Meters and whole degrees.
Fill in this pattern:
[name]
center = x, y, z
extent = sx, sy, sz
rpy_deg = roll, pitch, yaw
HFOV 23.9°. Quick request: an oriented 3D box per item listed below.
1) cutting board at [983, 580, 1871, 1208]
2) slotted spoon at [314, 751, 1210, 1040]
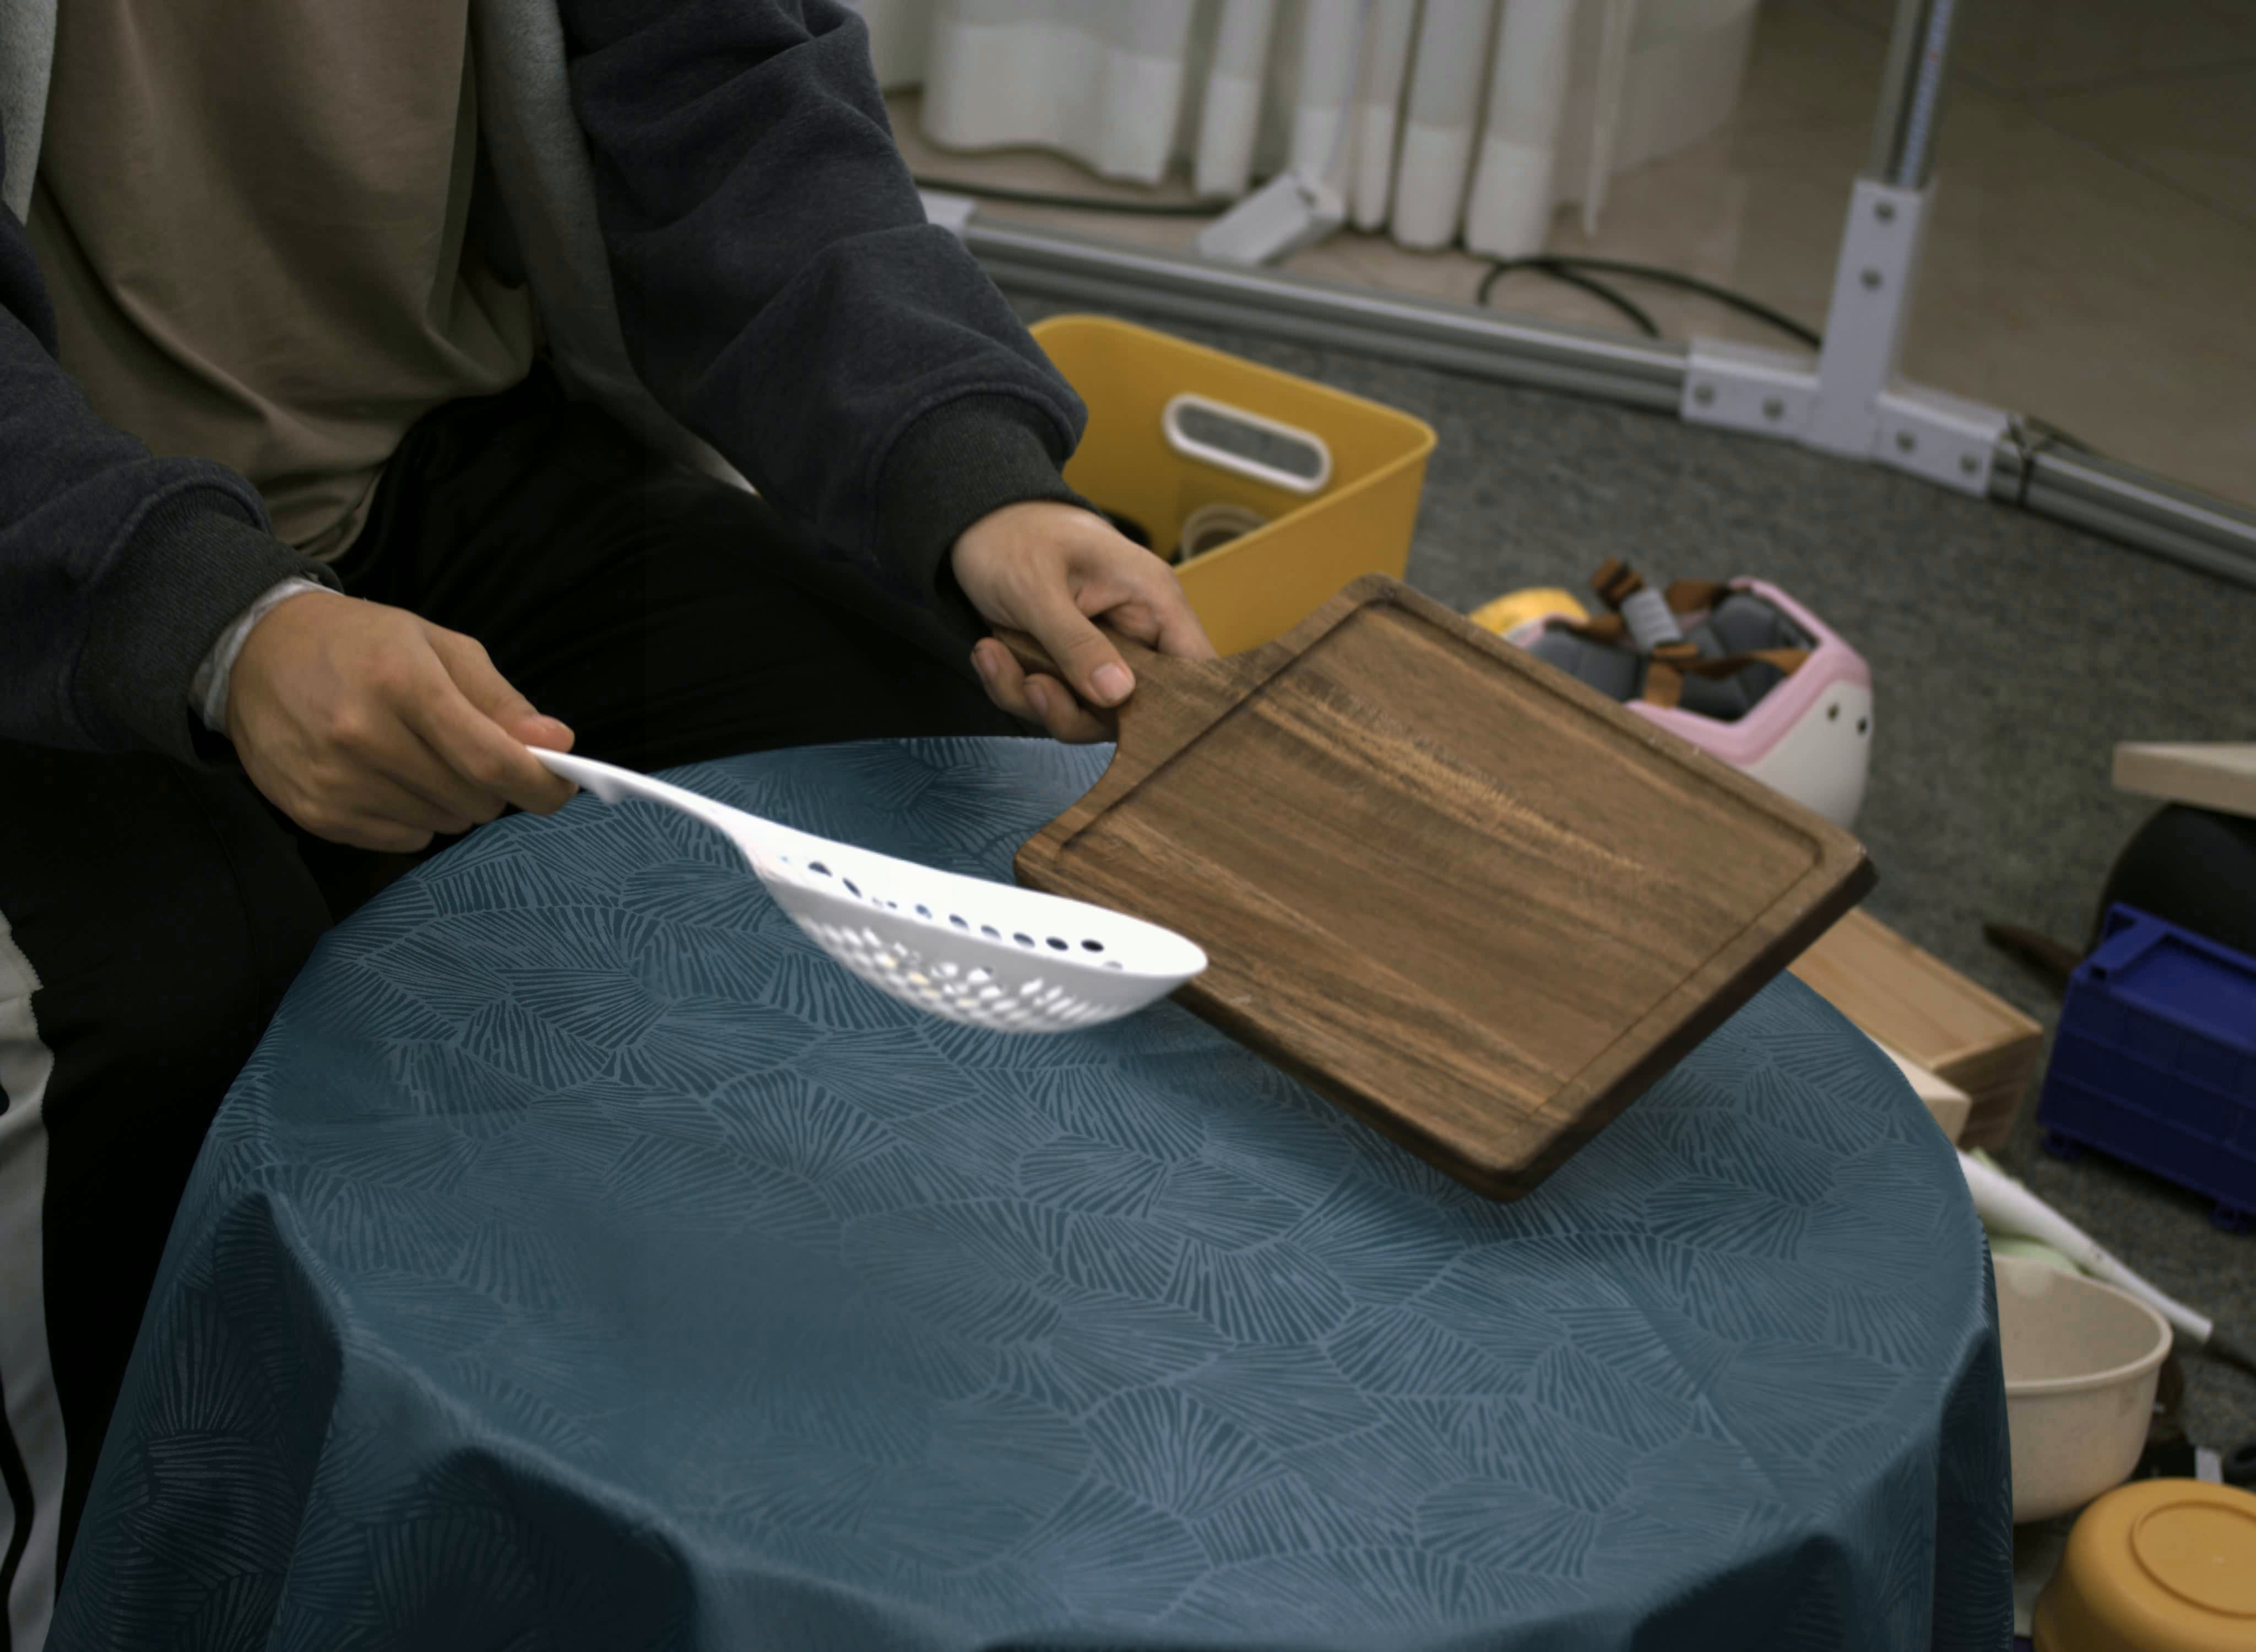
[cutting board]
center = 0.075, -0.004, 1.926
extent = 0.201, 0.023, 0.355
rpy_deg = -38, 49, -26
[slotted spoon]
center = -0.131, 0.010, 1.741
extent = 0.350, 0.050, 0.136
rpy_deg = 22, 12, 33
